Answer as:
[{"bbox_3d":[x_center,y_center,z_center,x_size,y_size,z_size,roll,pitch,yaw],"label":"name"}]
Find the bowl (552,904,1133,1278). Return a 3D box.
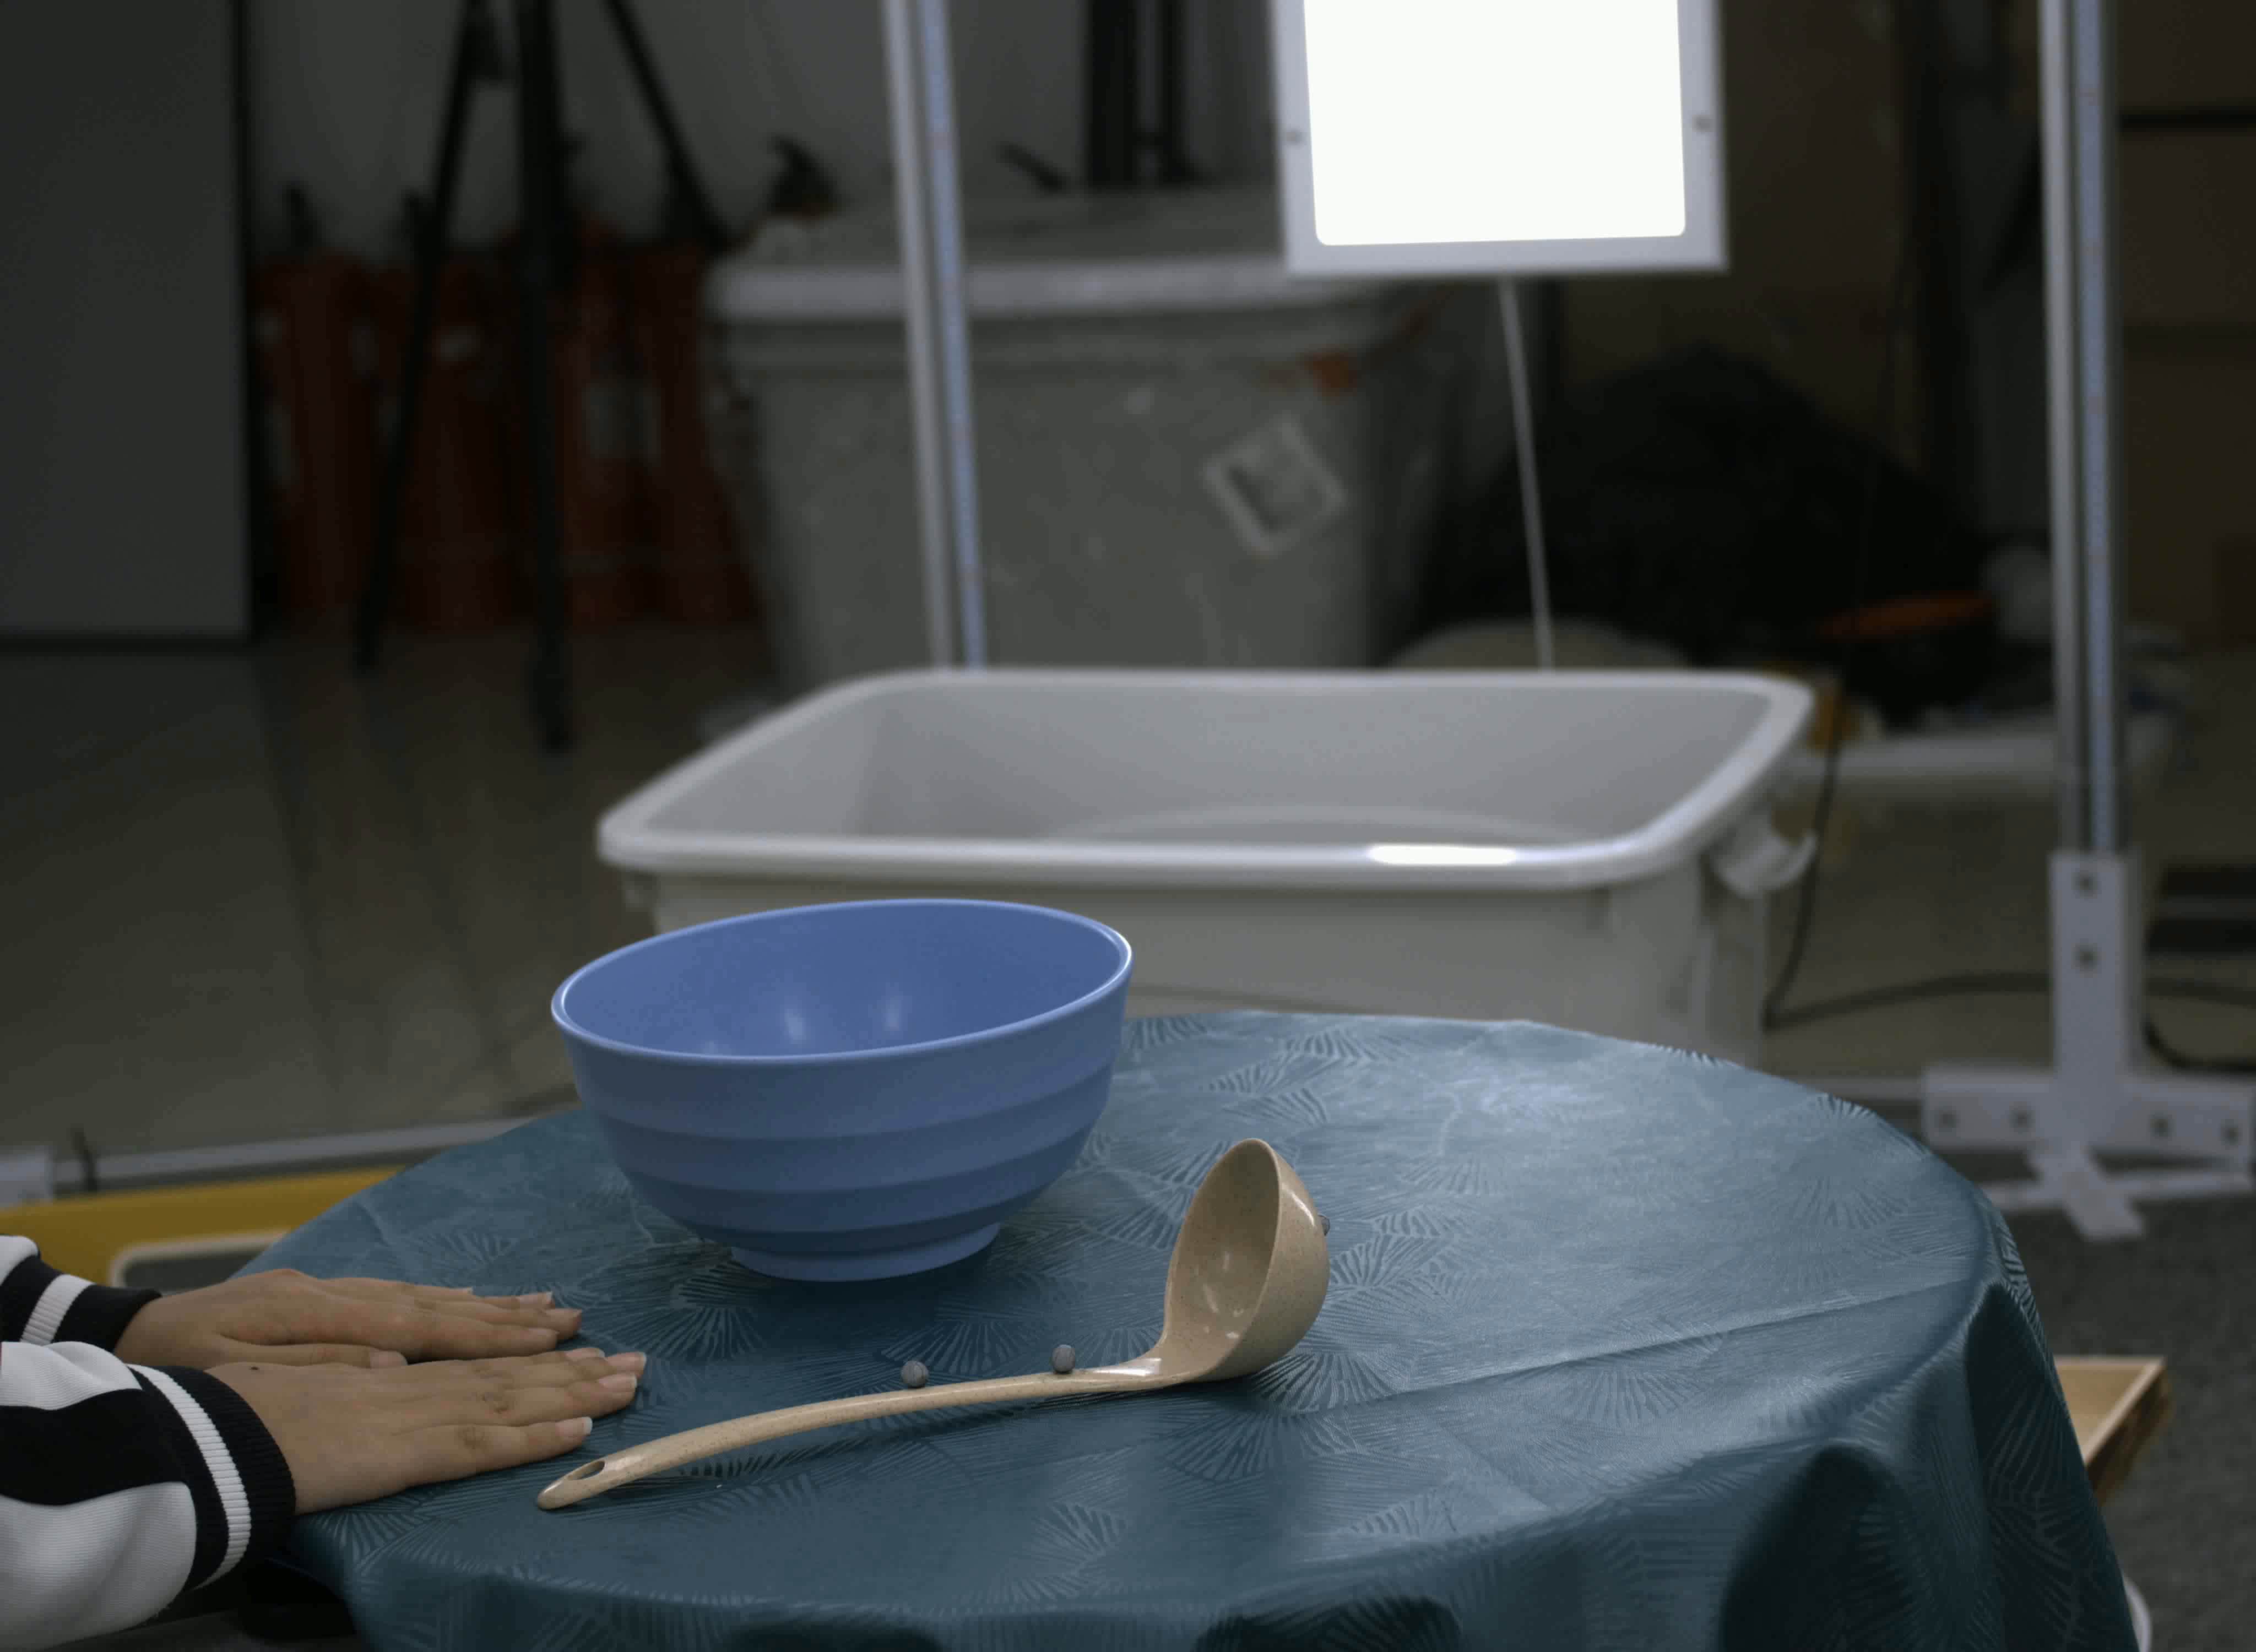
[{"bbox_3d":[-0.094,0.094,1.862,0.196,0.096,0.196,-3,12,-1],"label":"bowl"}]

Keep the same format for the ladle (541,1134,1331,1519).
[{"bbox_3d":[-0.060,0.149,1.674,0.250,0.073,0.073,-10,14,-19],"label":"ladle"}]
